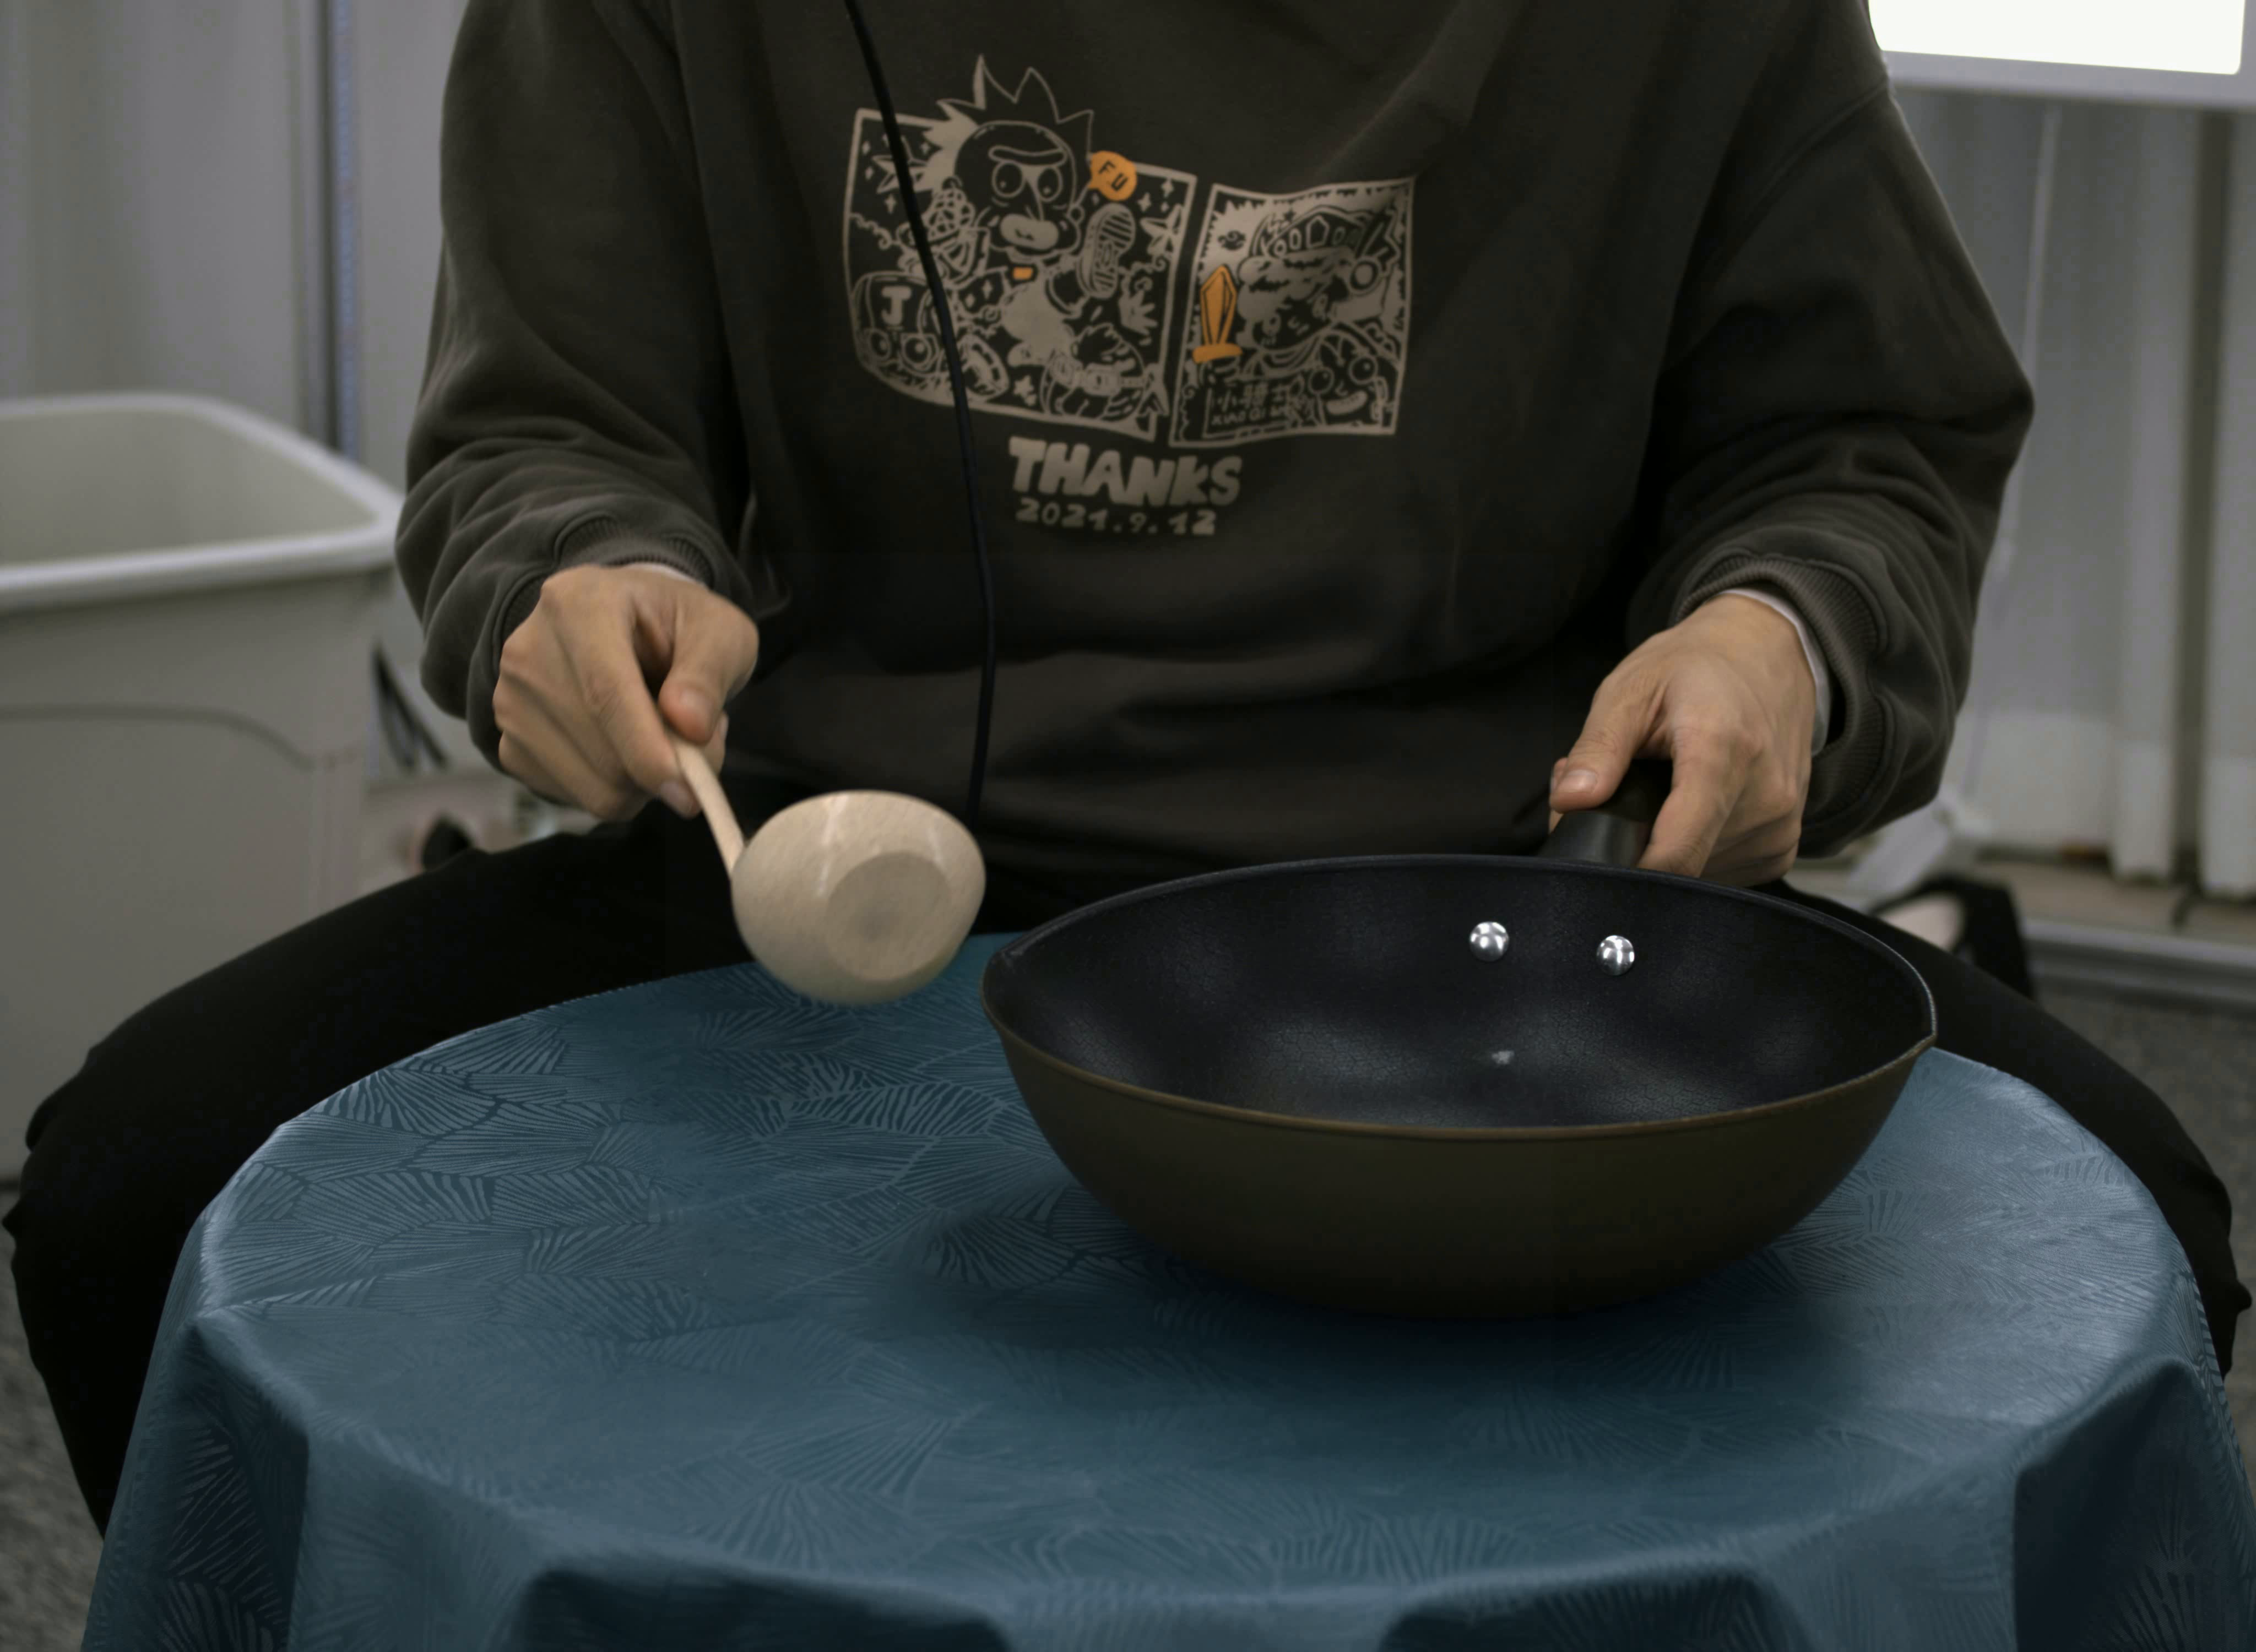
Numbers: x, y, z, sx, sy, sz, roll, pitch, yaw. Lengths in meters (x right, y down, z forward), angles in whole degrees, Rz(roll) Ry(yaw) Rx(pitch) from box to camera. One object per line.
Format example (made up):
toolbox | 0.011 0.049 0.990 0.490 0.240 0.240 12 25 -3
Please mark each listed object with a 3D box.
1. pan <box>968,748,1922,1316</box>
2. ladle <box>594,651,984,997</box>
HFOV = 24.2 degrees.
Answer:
pan | 0.121 0.061 1.663 0.285 0.087 0.463 5 15 17
ladle | -0.109 -0.027 1.610 0.073 0.073 0.251 32 12 -31
